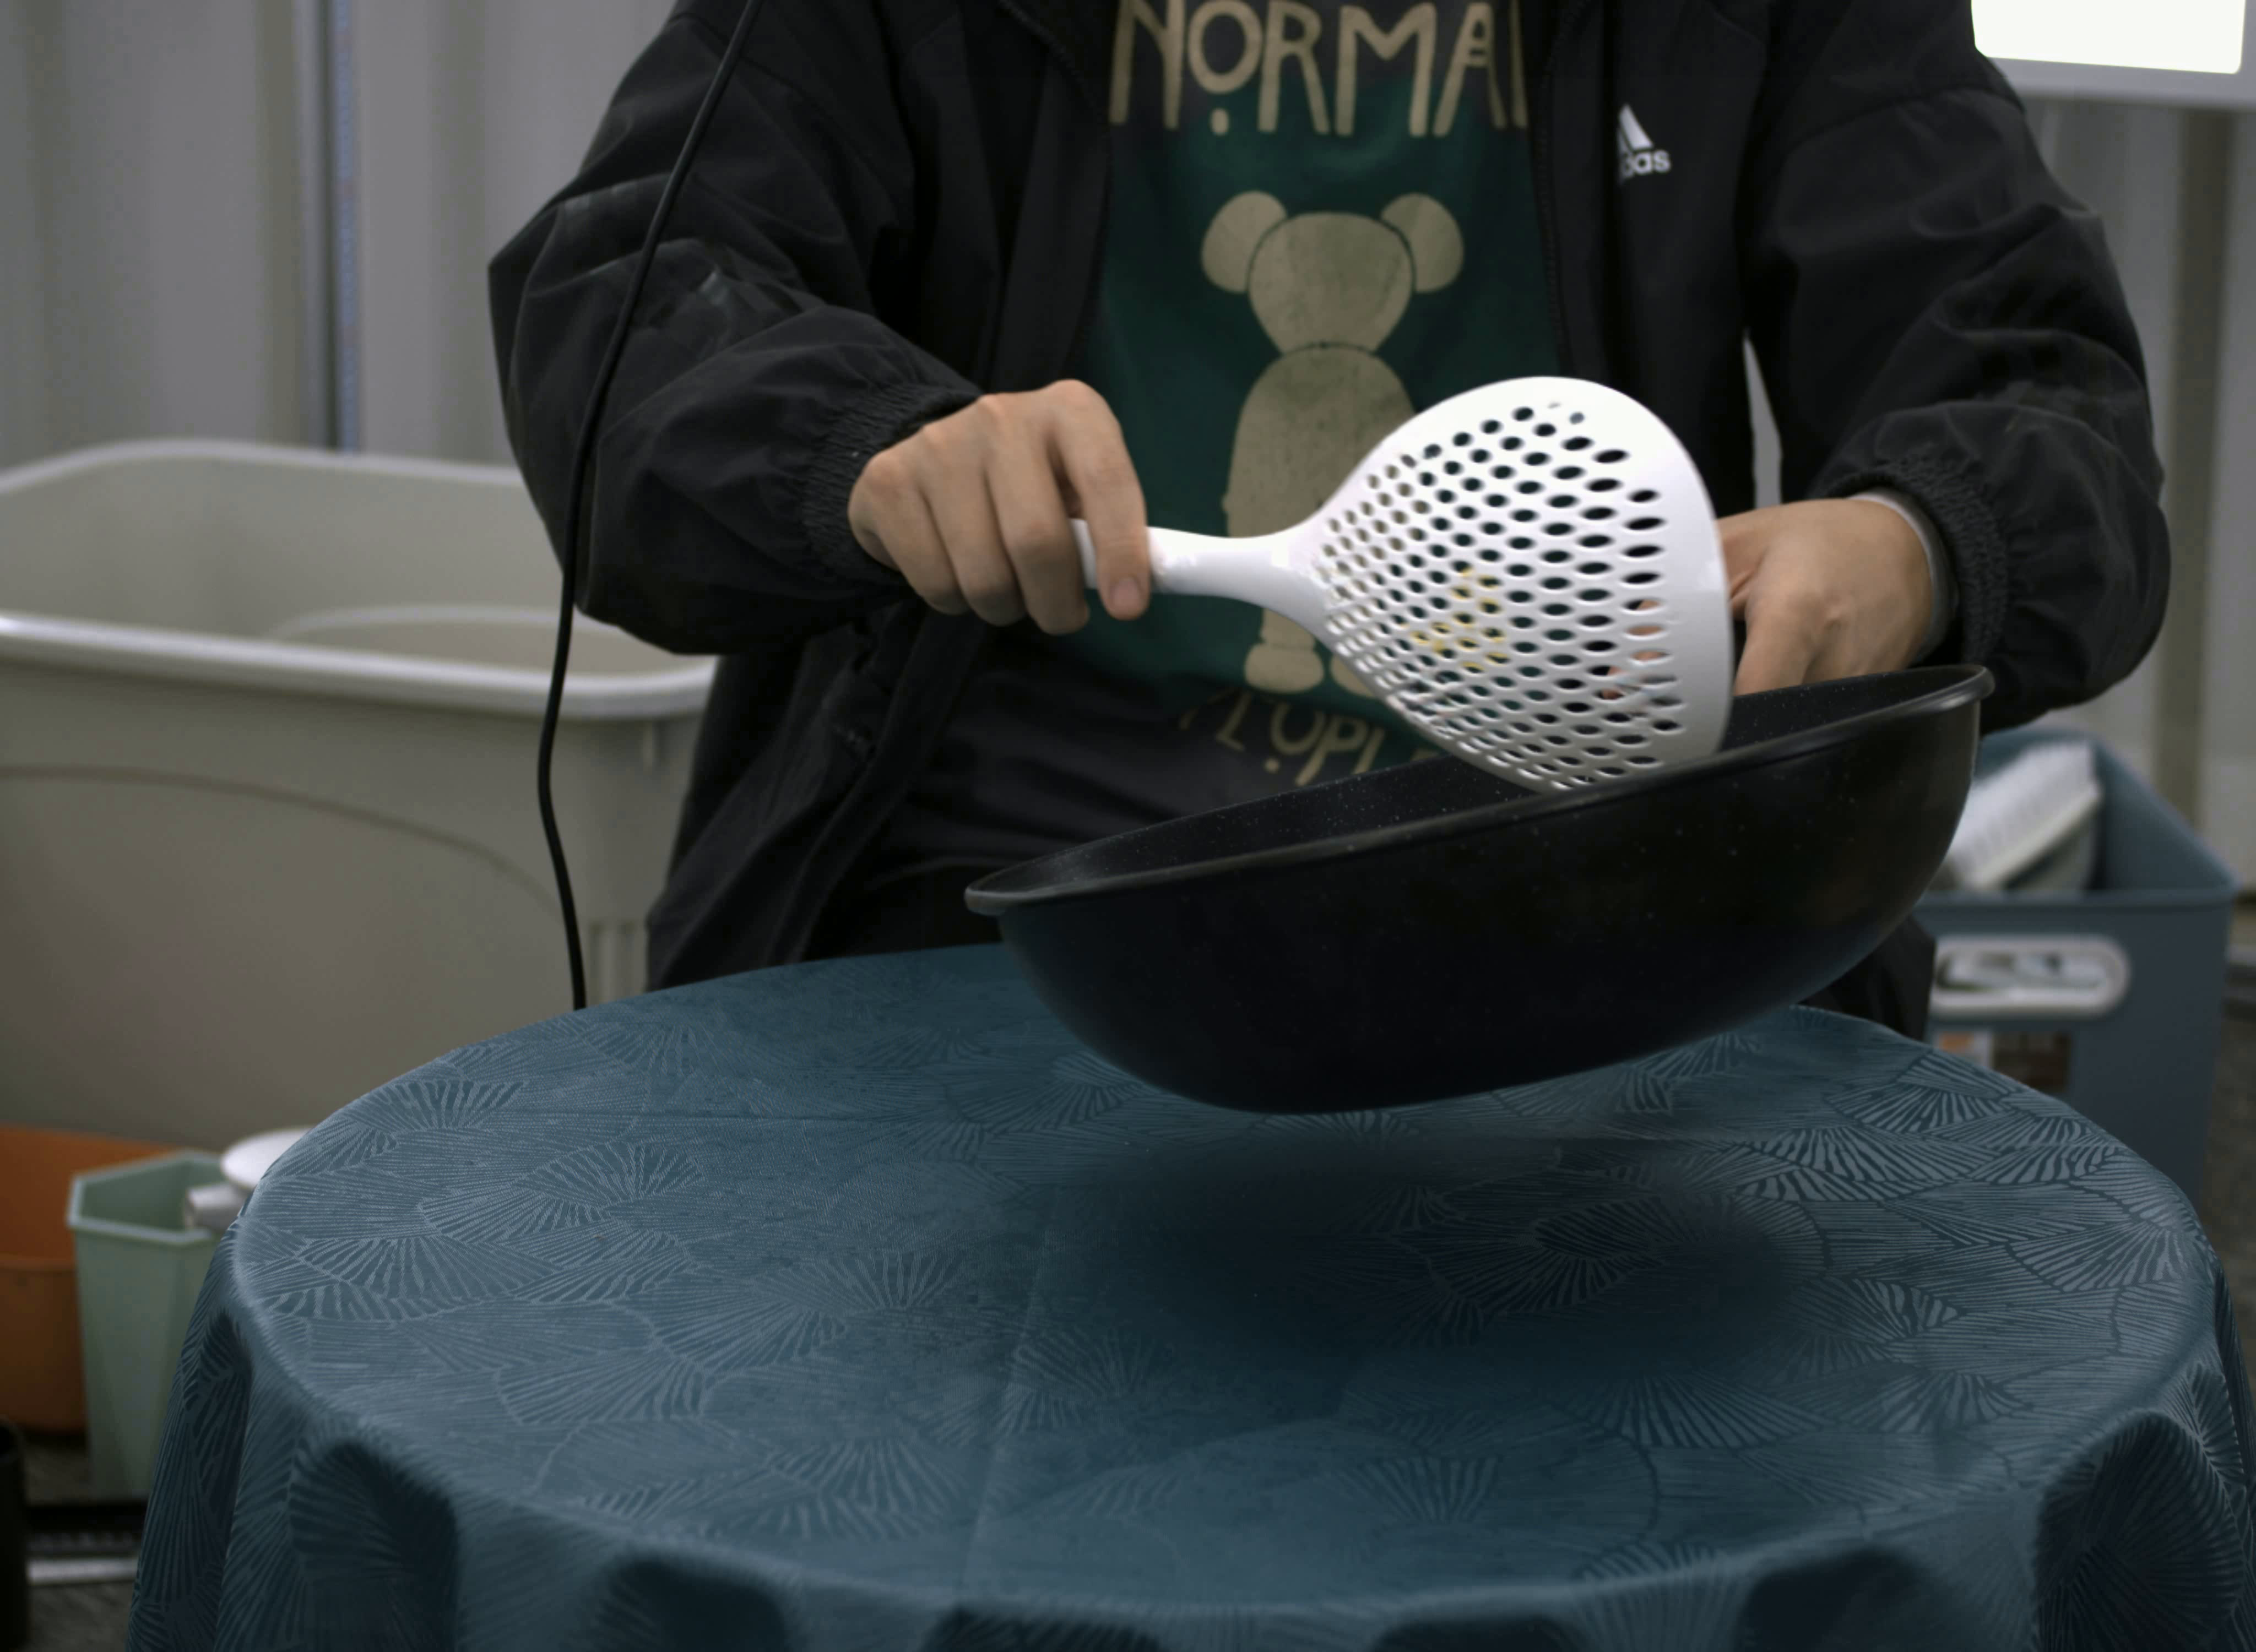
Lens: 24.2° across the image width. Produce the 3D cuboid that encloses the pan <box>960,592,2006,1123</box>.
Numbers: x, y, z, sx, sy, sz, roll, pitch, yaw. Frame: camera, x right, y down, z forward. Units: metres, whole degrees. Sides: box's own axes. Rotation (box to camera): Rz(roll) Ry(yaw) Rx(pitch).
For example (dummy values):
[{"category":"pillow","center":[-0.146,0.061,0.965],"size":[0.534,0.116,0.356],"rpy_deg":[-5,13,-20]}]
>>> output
[{"category":"pan","center":[0.140,0.006,1.618],"size":[0.307,0.112,0.478],"rpy_deg":[-9,4,24]}]

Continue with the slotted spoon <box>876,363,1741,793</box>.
[{"category":"slotted spoon","center":[0.048,-0.079,1.661],"size":[0.050,0.138,0.343],"rpy_deg":[-22,20,-38]}]
